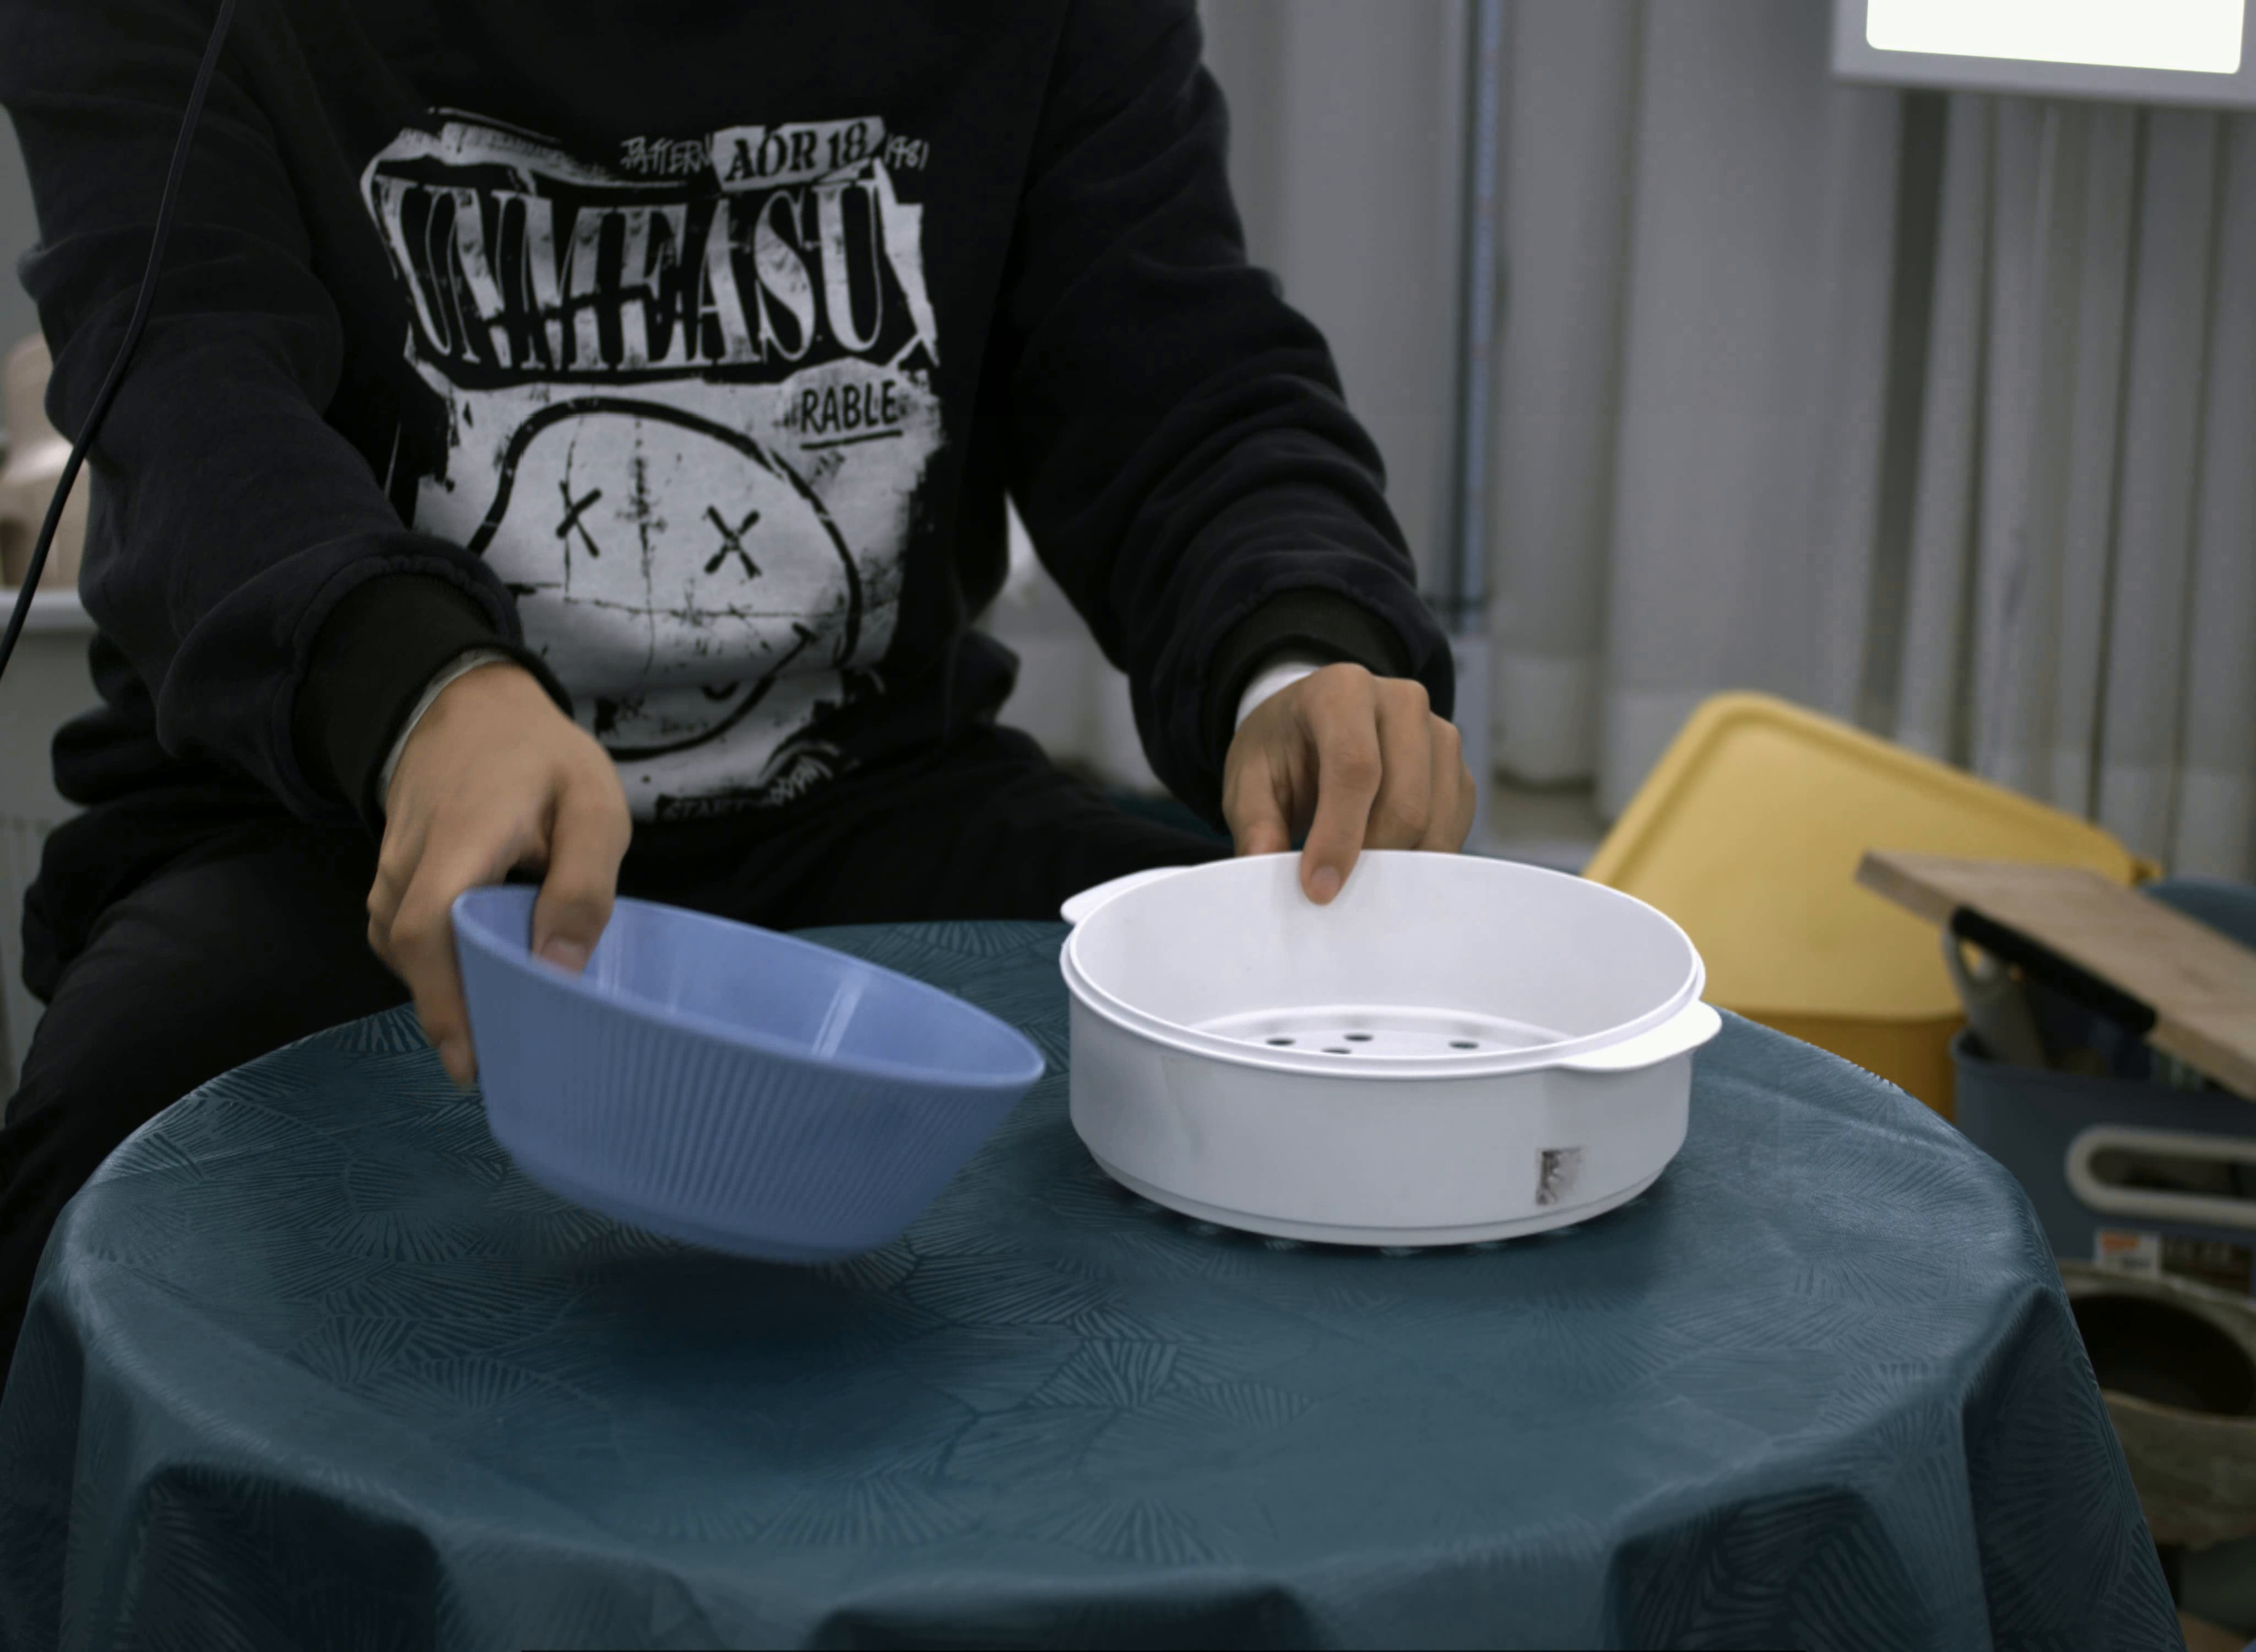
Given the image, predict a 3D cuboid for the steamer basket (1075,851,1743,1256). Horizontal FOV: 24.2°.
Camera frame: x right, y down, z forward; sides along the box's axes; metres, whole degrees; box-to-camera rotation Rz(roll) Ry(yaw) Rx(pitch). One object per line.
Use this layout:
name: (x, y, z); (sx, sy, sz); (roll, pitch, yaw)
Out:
steamer basket: (0.083, 0.071, 1.644); (0.227, 0.070, 0.203); (17, 24, 36)

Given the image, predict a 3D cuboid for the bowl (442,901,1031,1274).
bowl: (-0.120, 0.079, 1.515); (0.176, 0.070, 0.175); (16, 8, -2)
